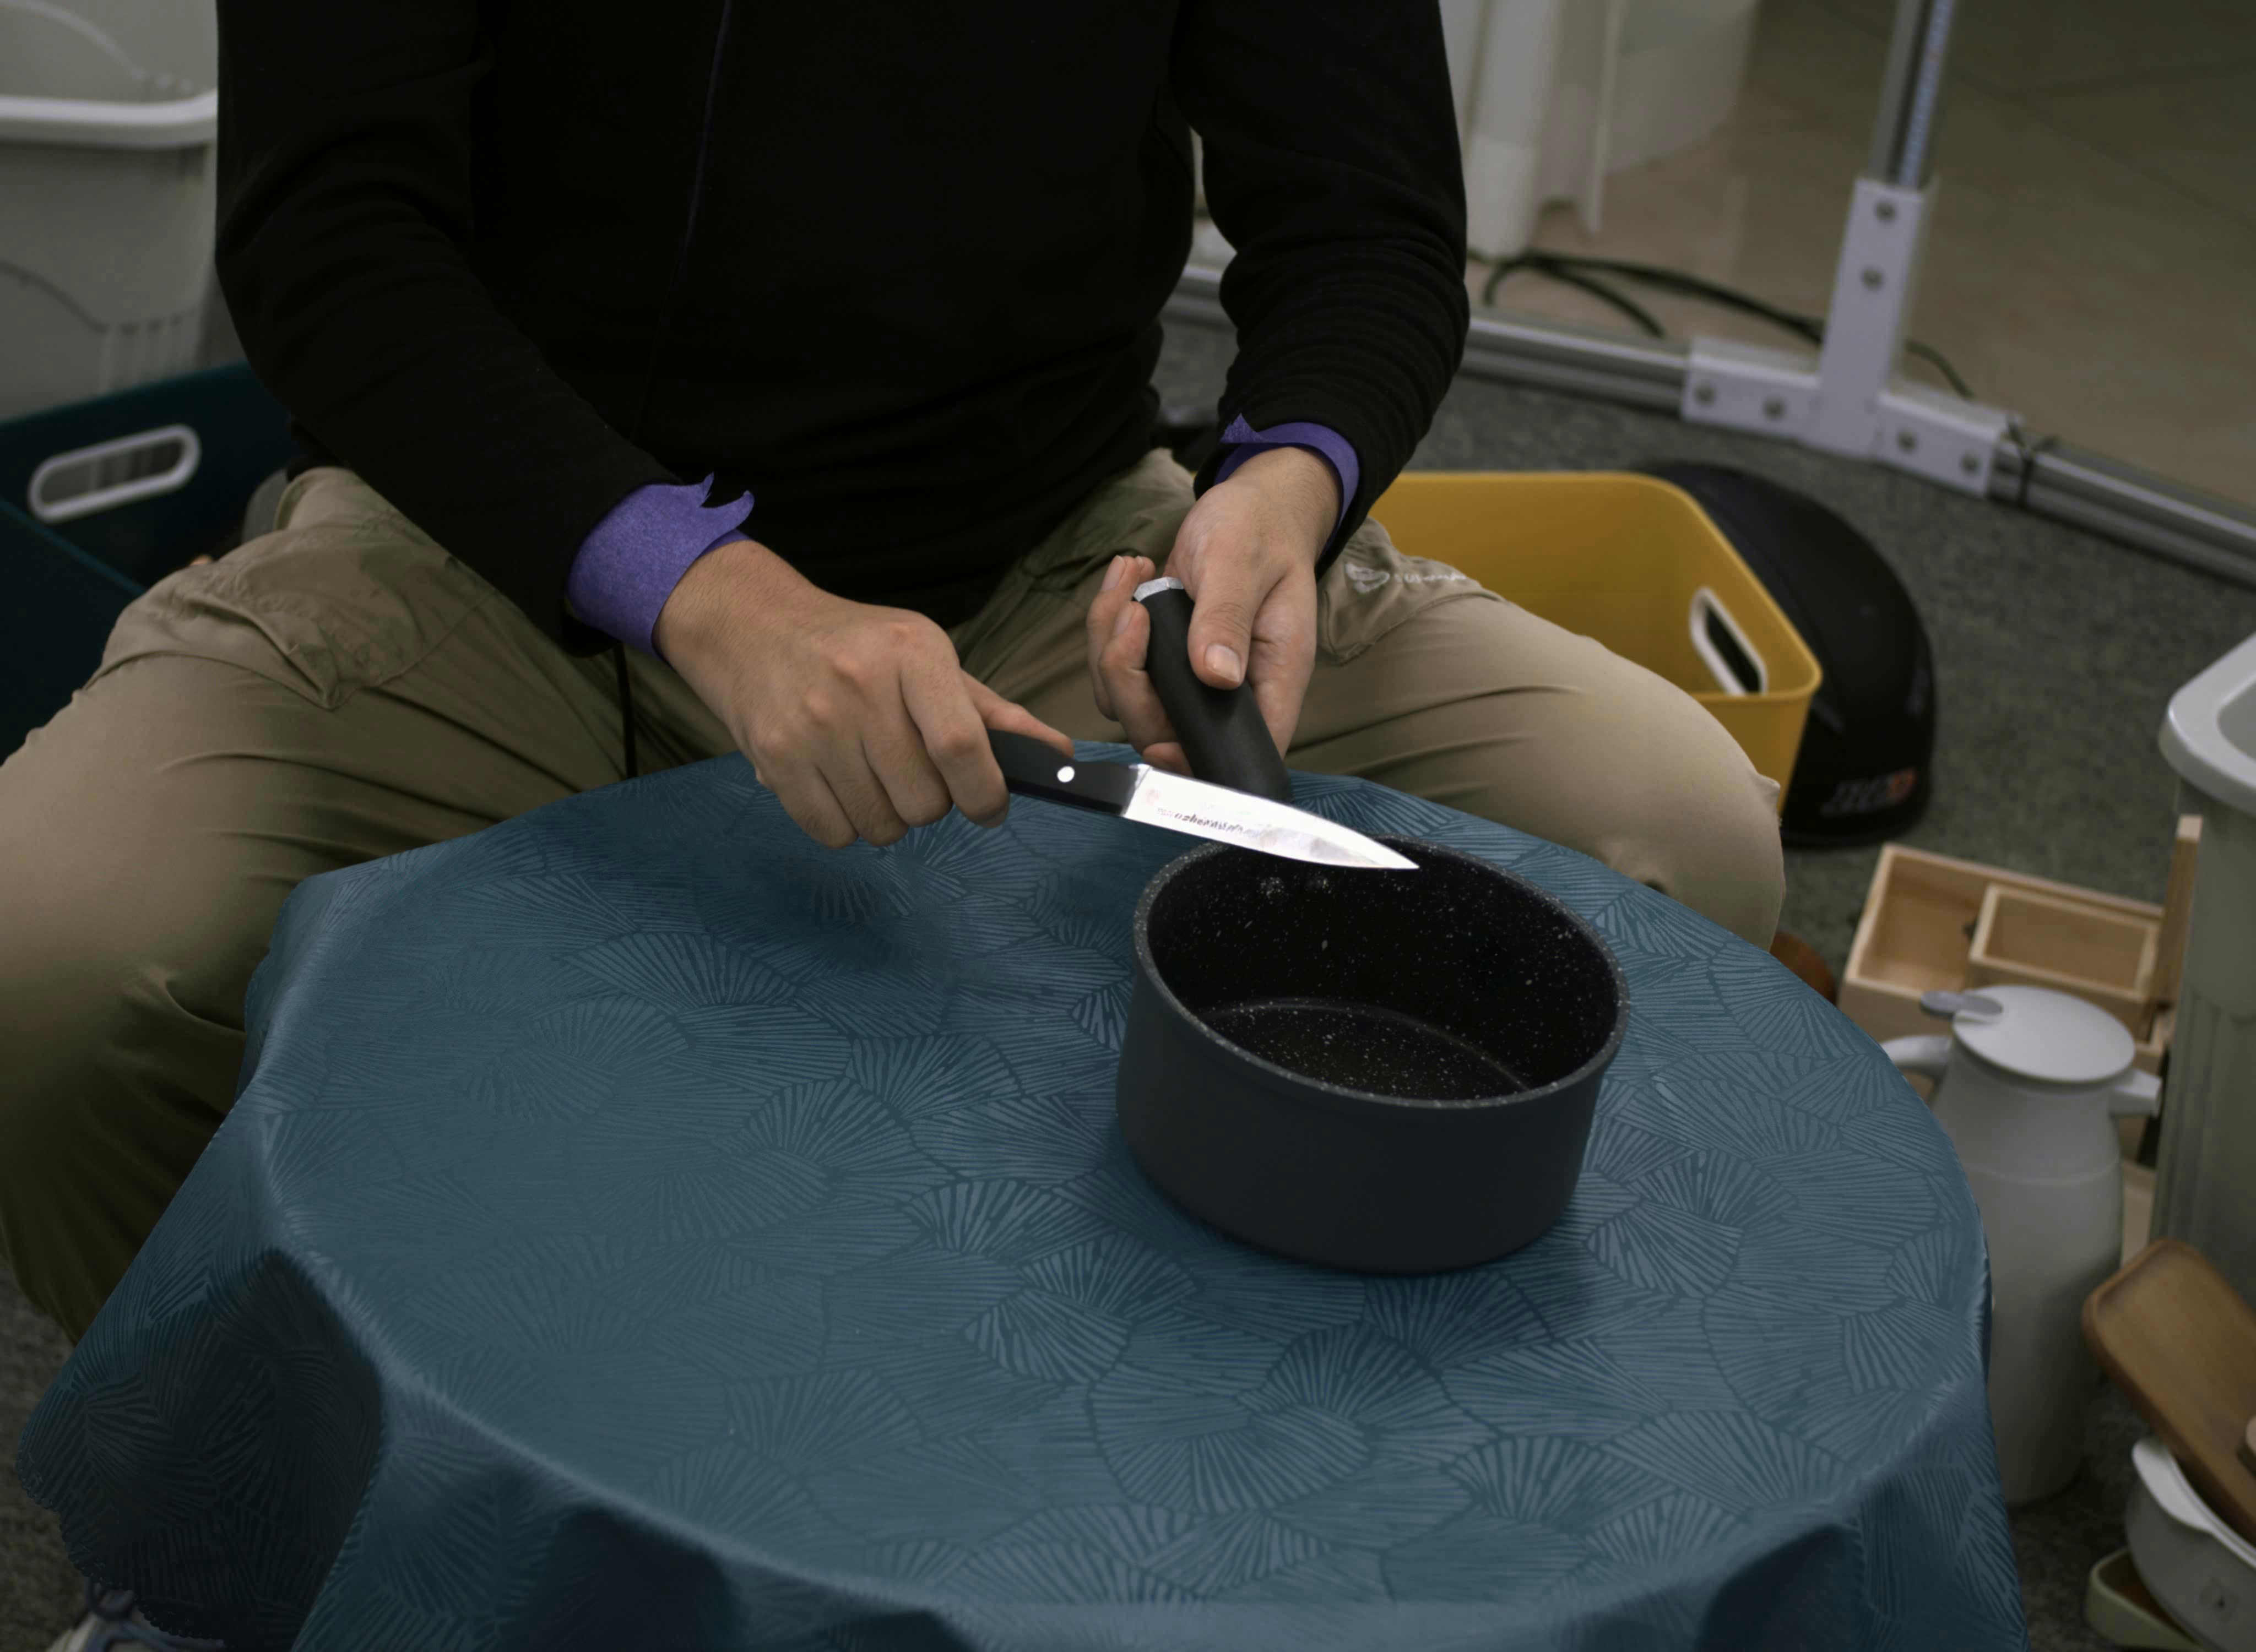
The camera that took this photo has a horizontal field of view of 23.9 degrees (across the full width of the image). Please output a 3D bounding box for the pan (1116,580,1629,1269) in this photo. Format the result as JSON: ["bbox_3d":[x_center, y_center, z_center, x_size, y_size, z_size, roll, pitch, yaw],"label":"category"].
[{"bbox_3d":[0.060,0.031,1.883,0.171,0.086,0.332,0,33,-17],"label":"pan"}]

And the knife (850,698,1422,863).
[{"bbox_3d":[-0.001,-0.012,1.878,0.239,0.016,0.024,14,63,30],"label":"knife"}]
